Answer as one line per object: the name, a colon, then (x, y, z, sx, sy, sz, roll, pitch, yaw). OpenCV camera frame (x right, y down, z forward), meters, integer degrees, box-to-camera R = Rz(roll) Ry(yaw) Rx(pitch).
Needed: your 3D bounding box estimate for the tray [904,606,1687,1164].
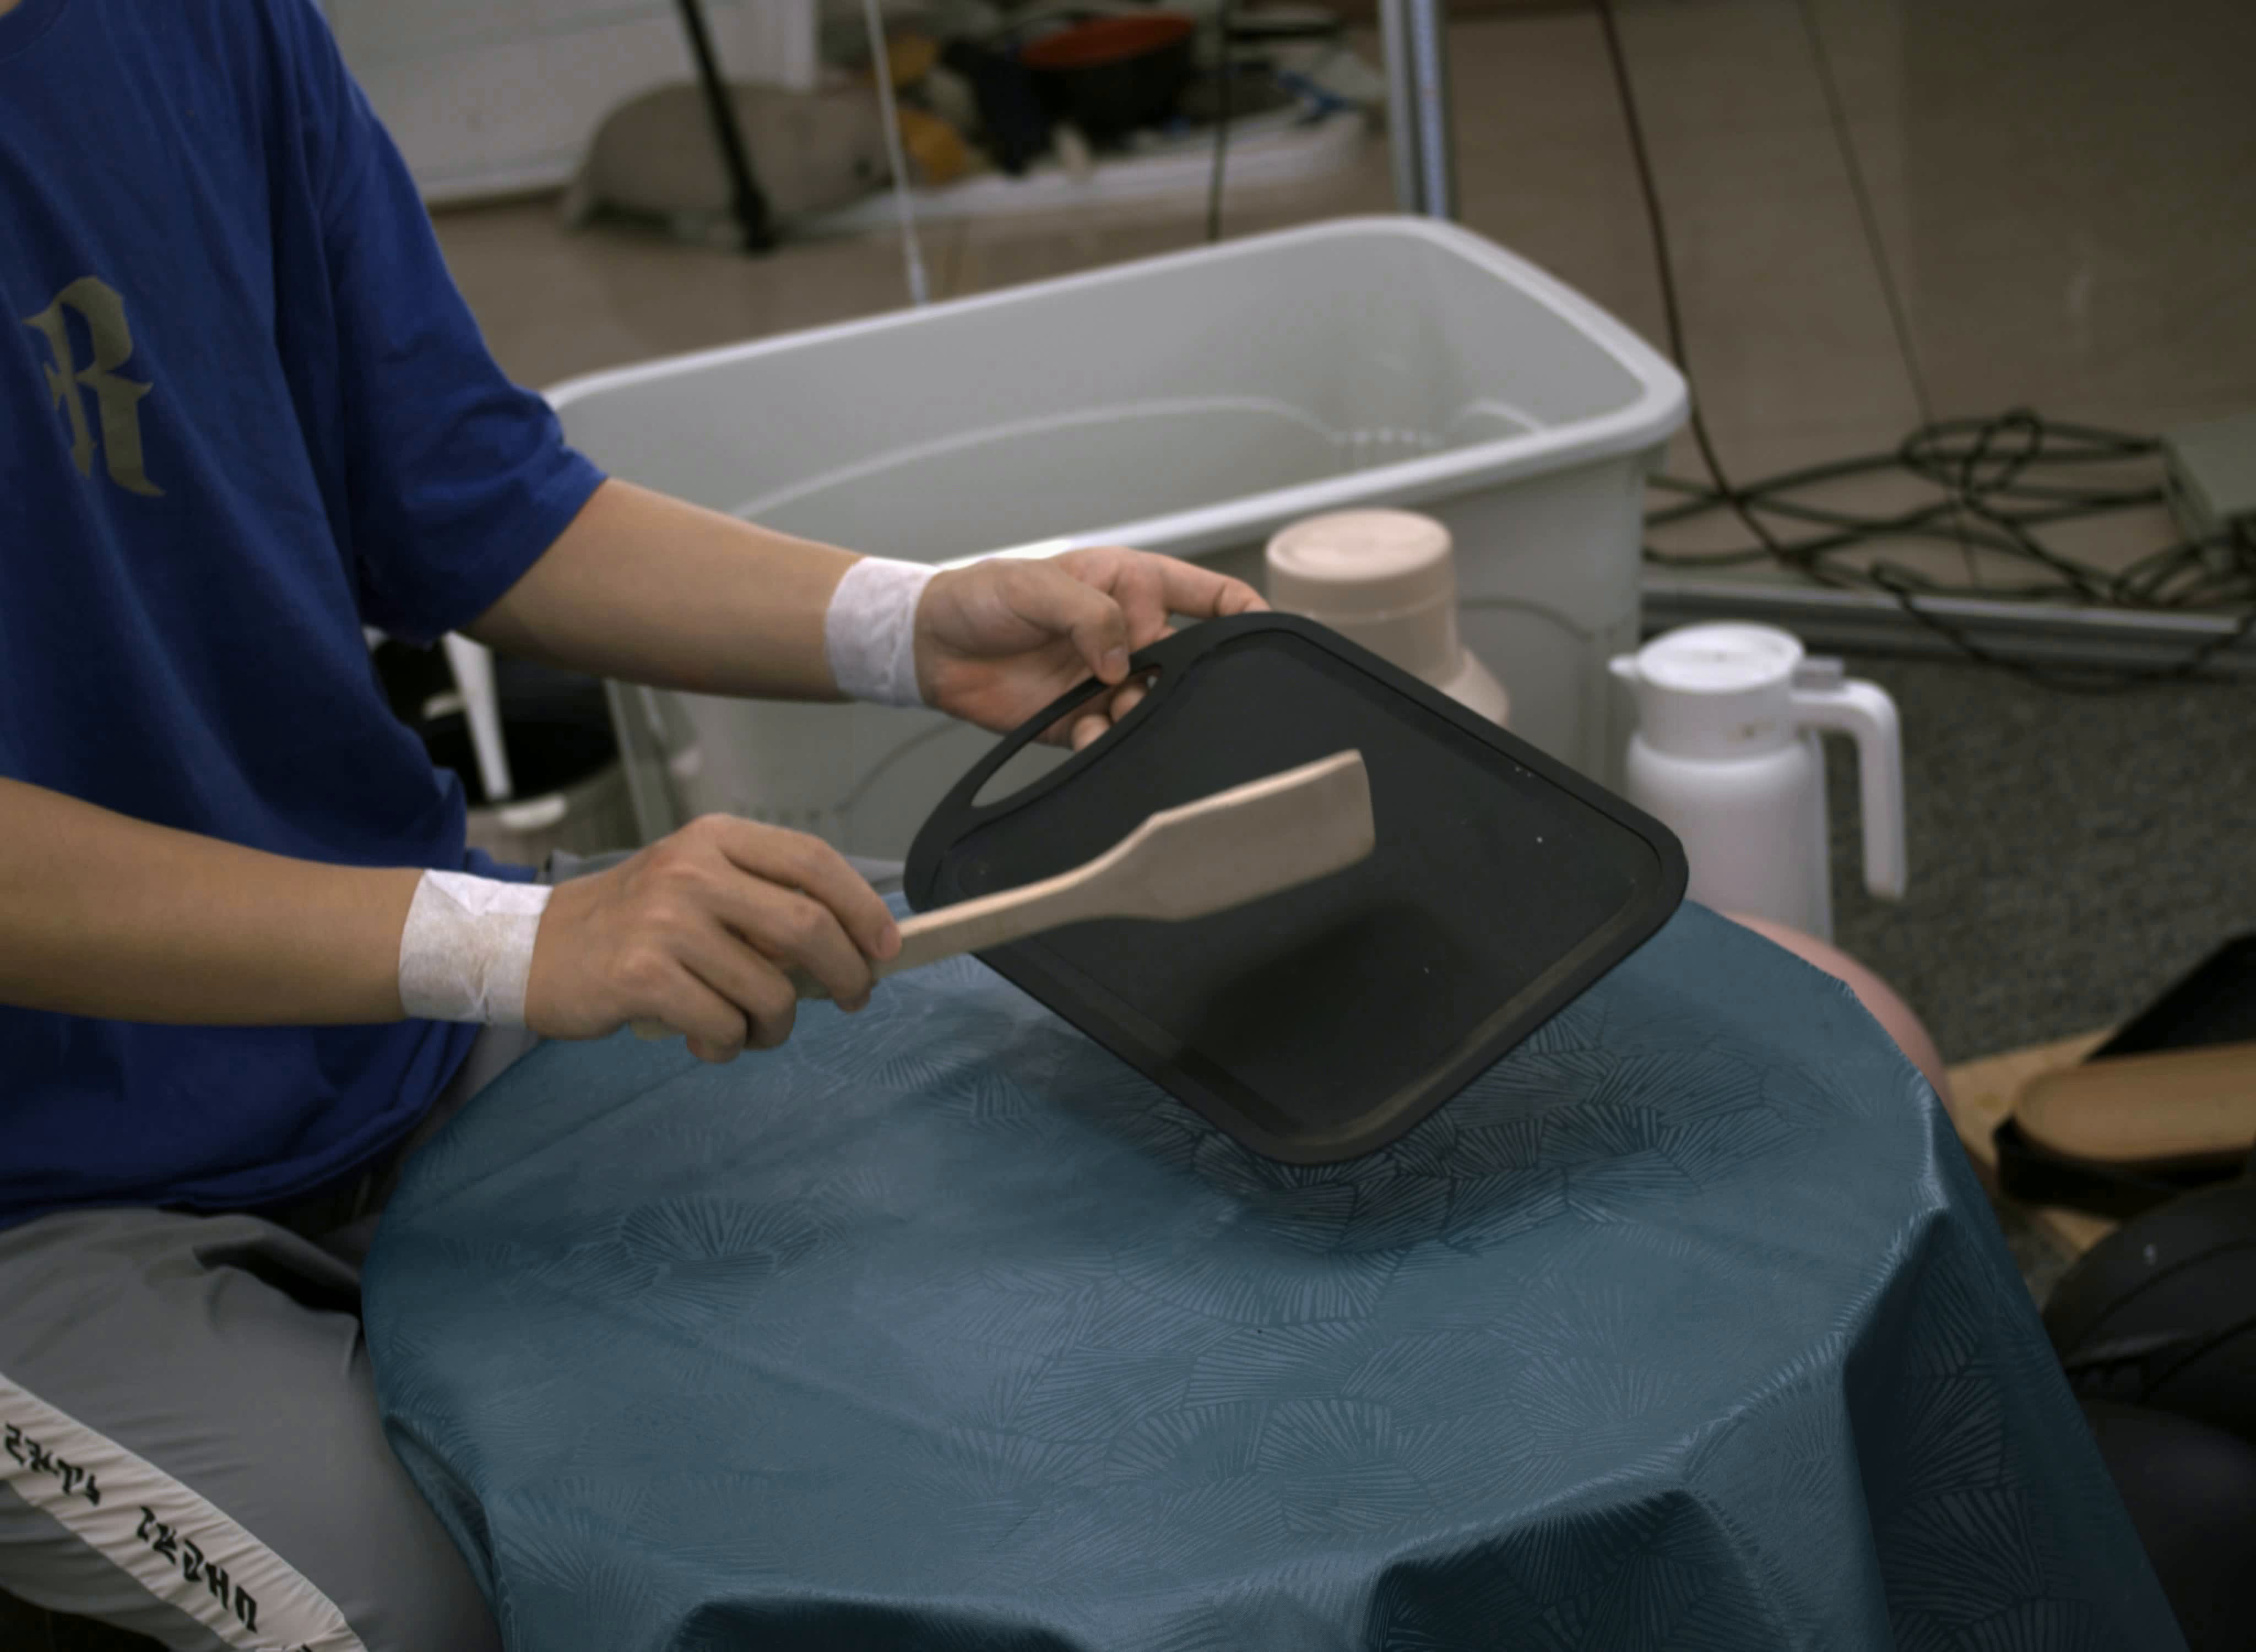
tray: (0.054, 0.014, 2.205, 0.210, 0.010, 0.321, -38, 42, -16)

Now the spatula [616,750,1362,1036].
spatula: (-0.052, 0.031, 2.132, 0.292, 0.073, 0.010, -16, 58, -3)
